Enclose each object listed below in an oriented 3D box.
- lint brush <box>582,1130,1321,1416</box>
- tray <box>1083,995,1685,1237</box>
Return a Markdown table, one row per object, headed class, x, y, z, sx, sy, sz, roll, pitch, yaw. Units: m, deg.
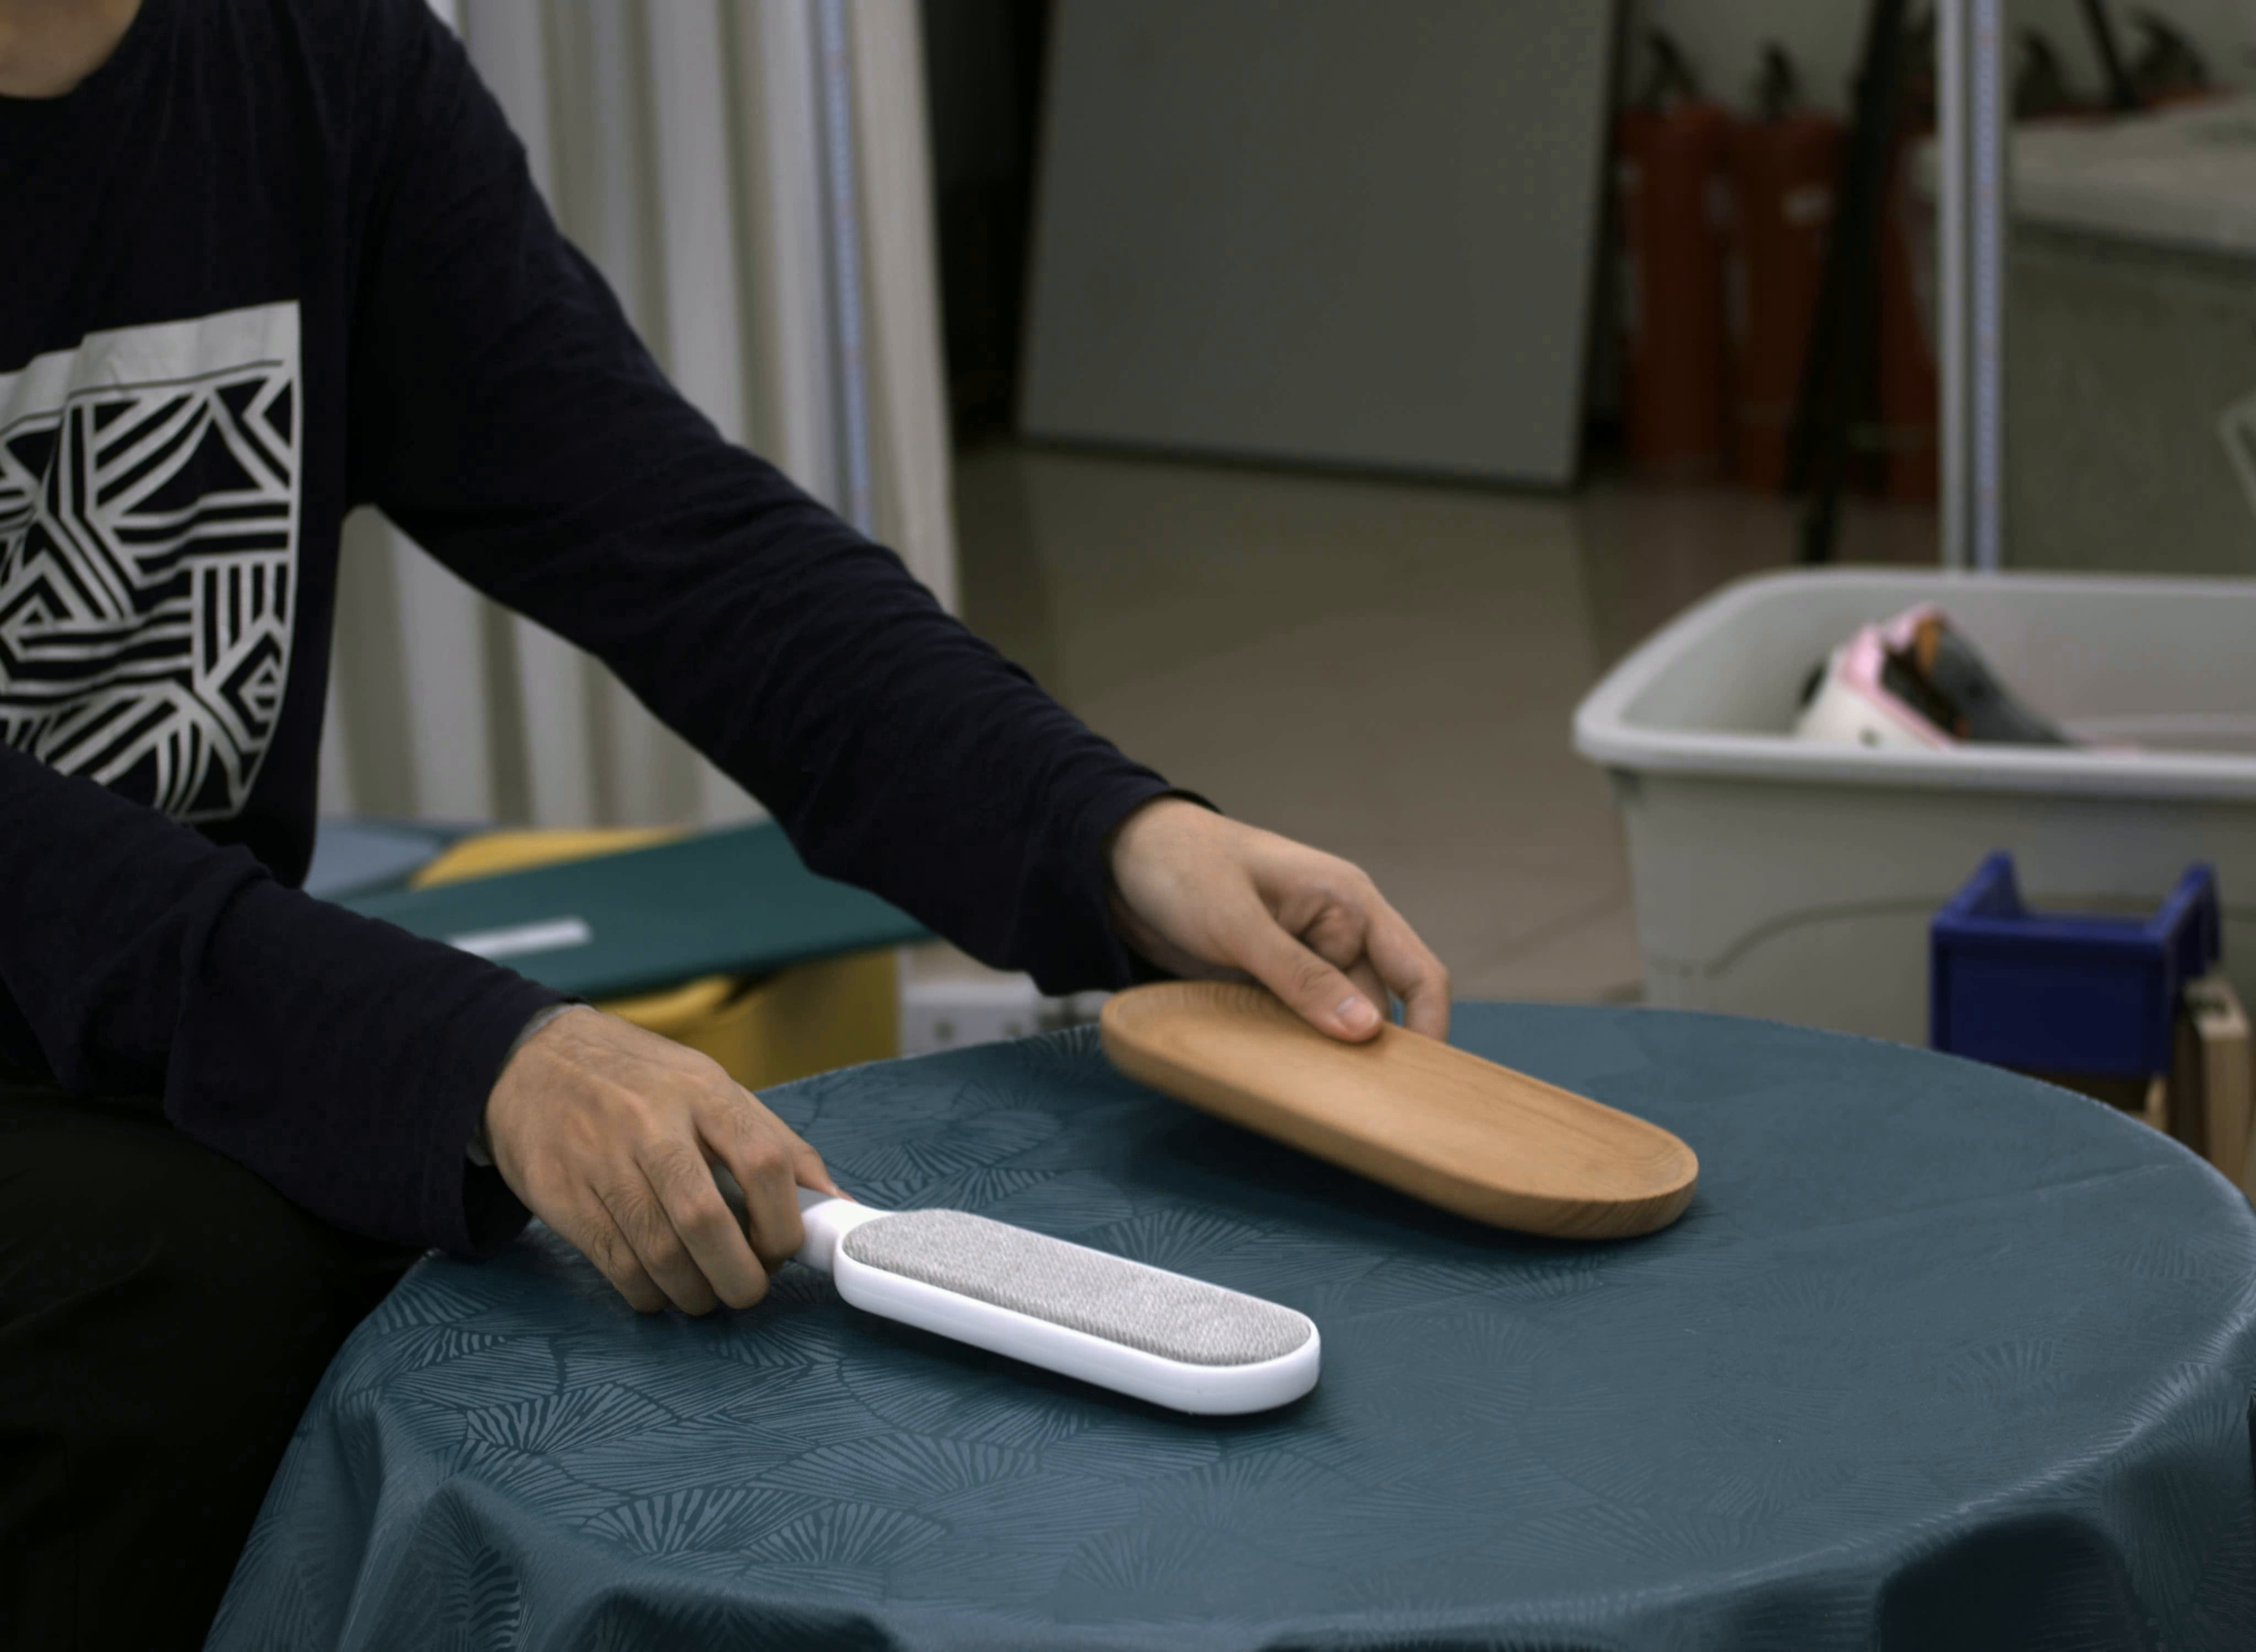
| class | x | y | z | sx | sy | sz | roll | pitch | yaw |
| --- | --- | --- | --- | --- | --- | --- | --- | --- | --- |
| lint brush | -0.061 | 0.133 | 1.652 | 0.312 | 0.021 | 0.059 | 13 | 28 | 43 |
| tray | 0.082 | 0.094 | 1.768 | 0.233 | 0.020 | 0.099 | 16 | 18 | 42 |
